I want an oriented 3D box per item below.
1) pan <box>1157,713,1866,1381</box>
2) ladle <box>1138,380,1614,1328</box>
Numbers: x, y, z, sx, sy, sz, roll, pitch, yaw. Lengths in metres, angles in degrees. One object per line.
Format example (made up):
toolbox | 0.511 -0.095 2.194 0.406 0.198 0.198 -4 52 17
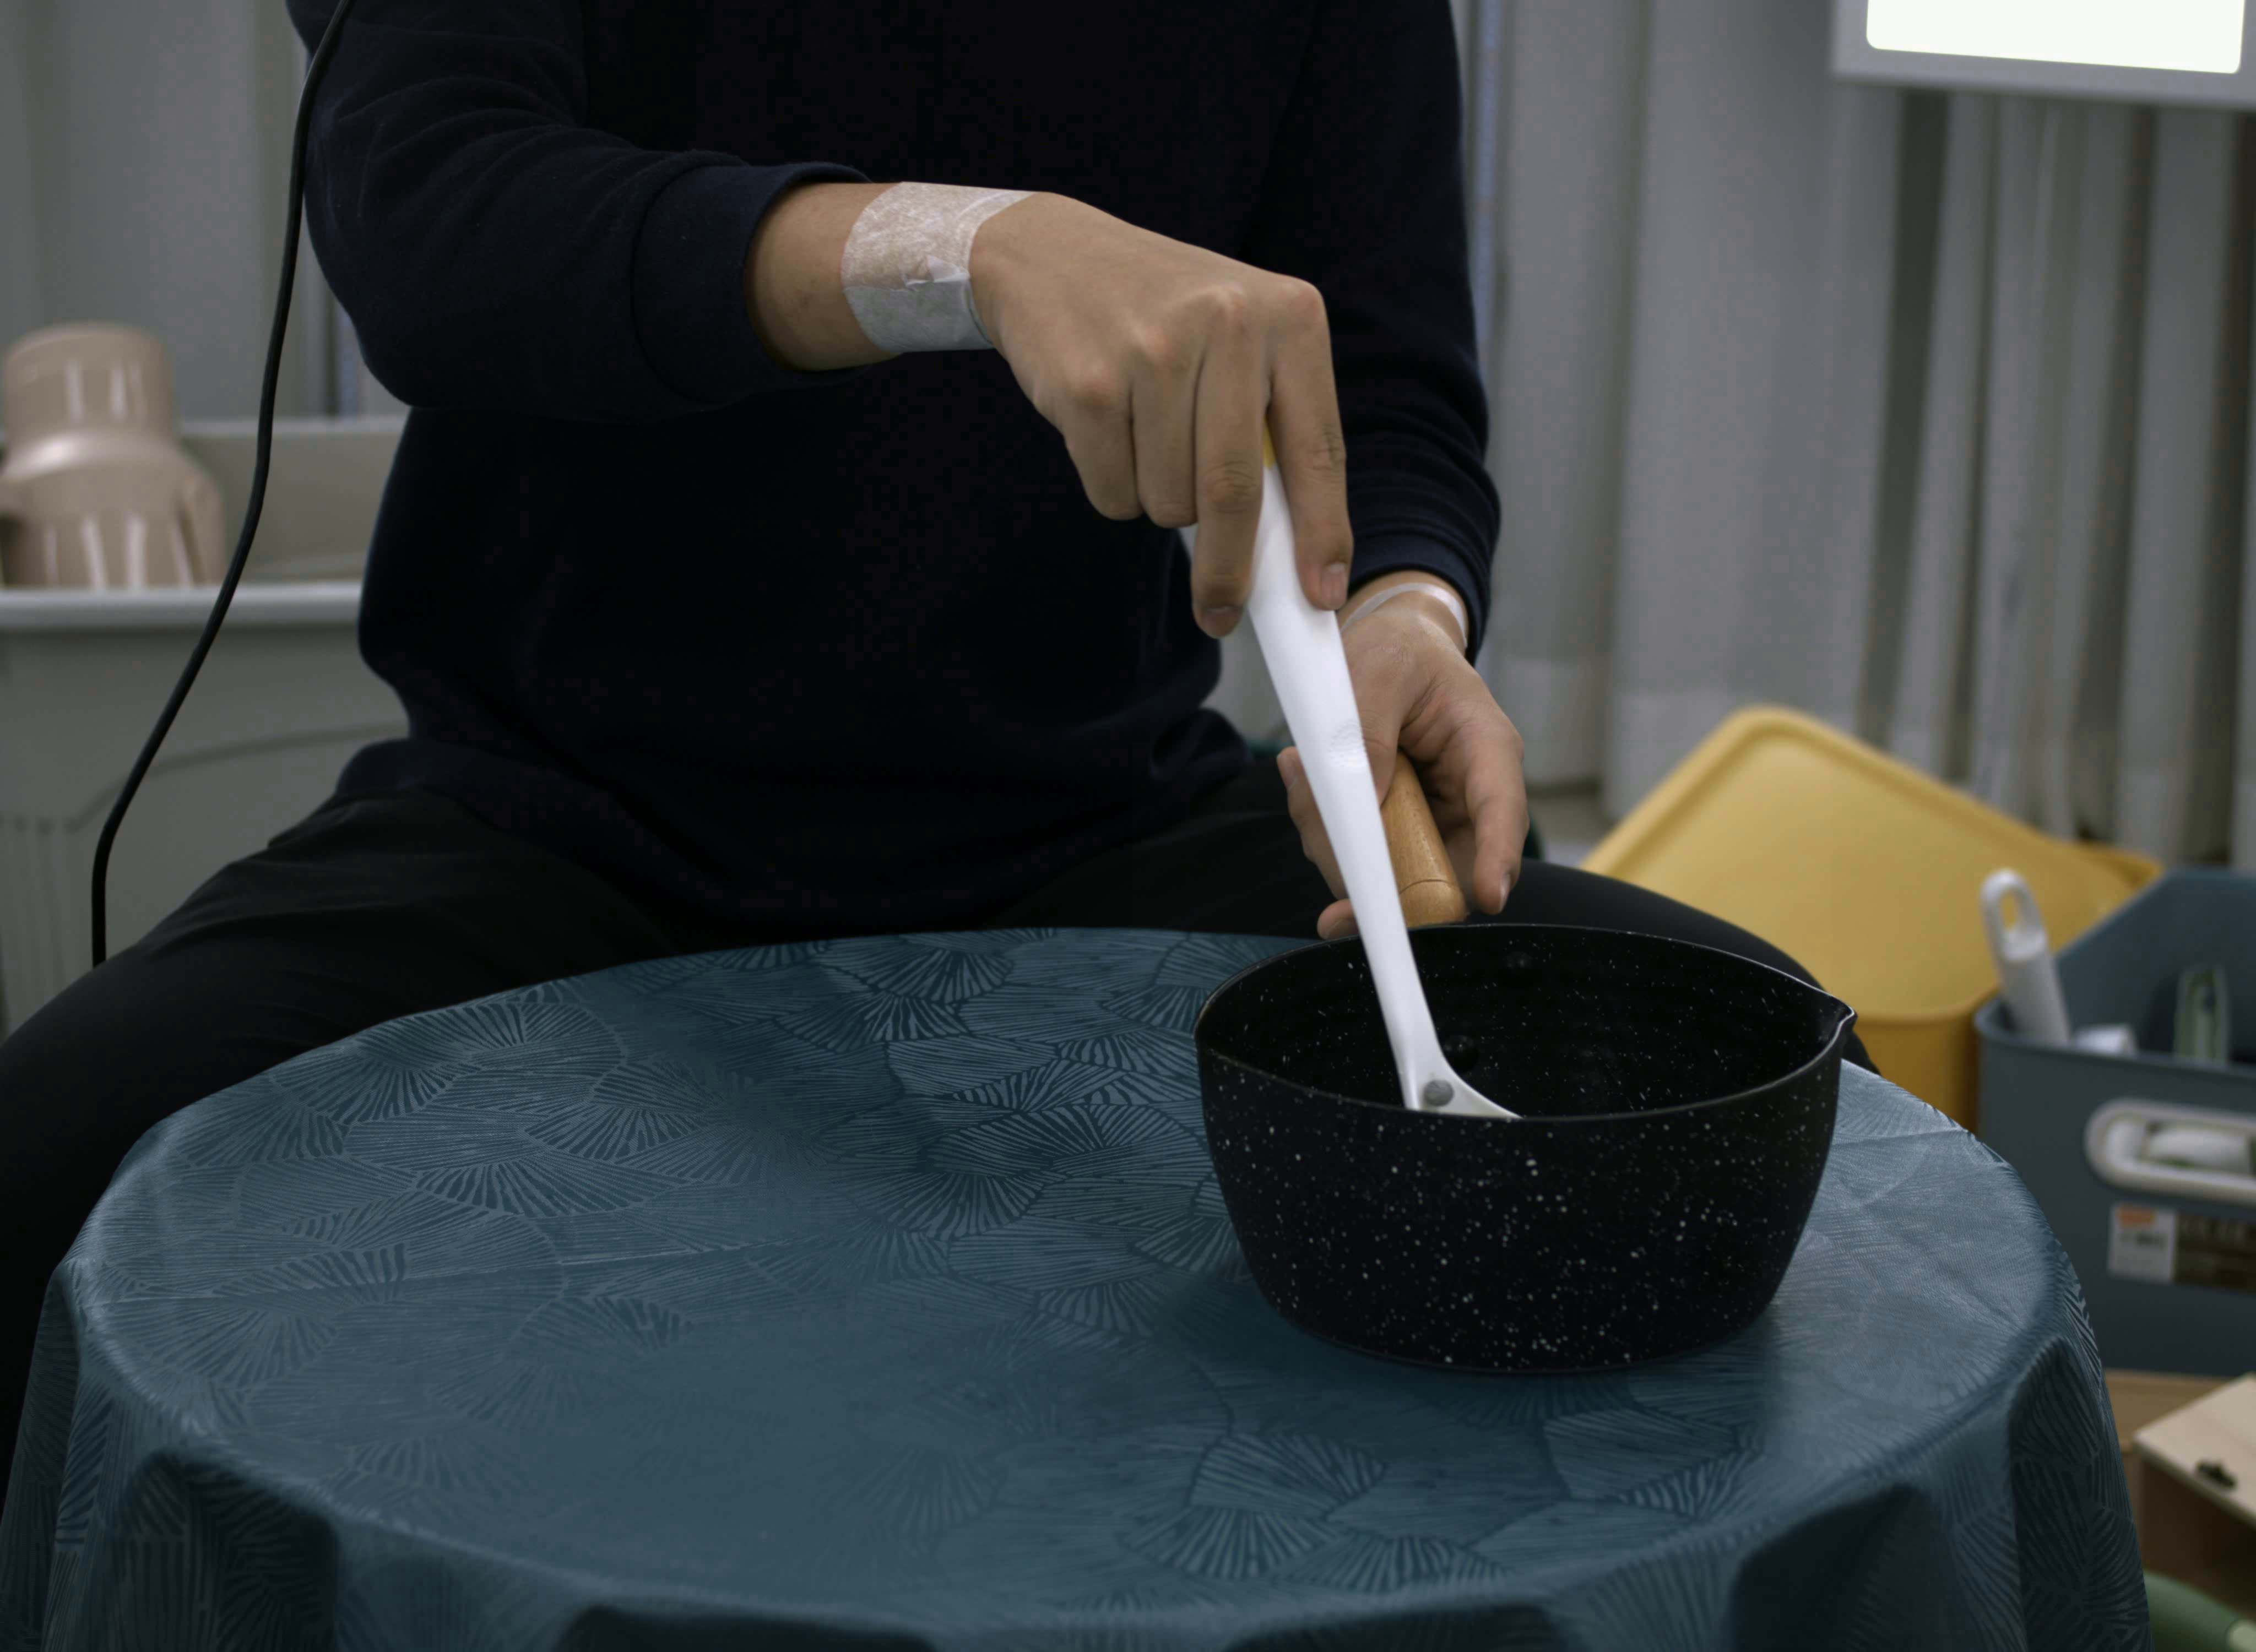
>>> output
pan | 0.101 0.062 1.605 0.207 0.109 0.340 -3 18 -9
ladle | 0.074 0.007 1.512 0.090 0.293 0.069 -17 -3 -34
